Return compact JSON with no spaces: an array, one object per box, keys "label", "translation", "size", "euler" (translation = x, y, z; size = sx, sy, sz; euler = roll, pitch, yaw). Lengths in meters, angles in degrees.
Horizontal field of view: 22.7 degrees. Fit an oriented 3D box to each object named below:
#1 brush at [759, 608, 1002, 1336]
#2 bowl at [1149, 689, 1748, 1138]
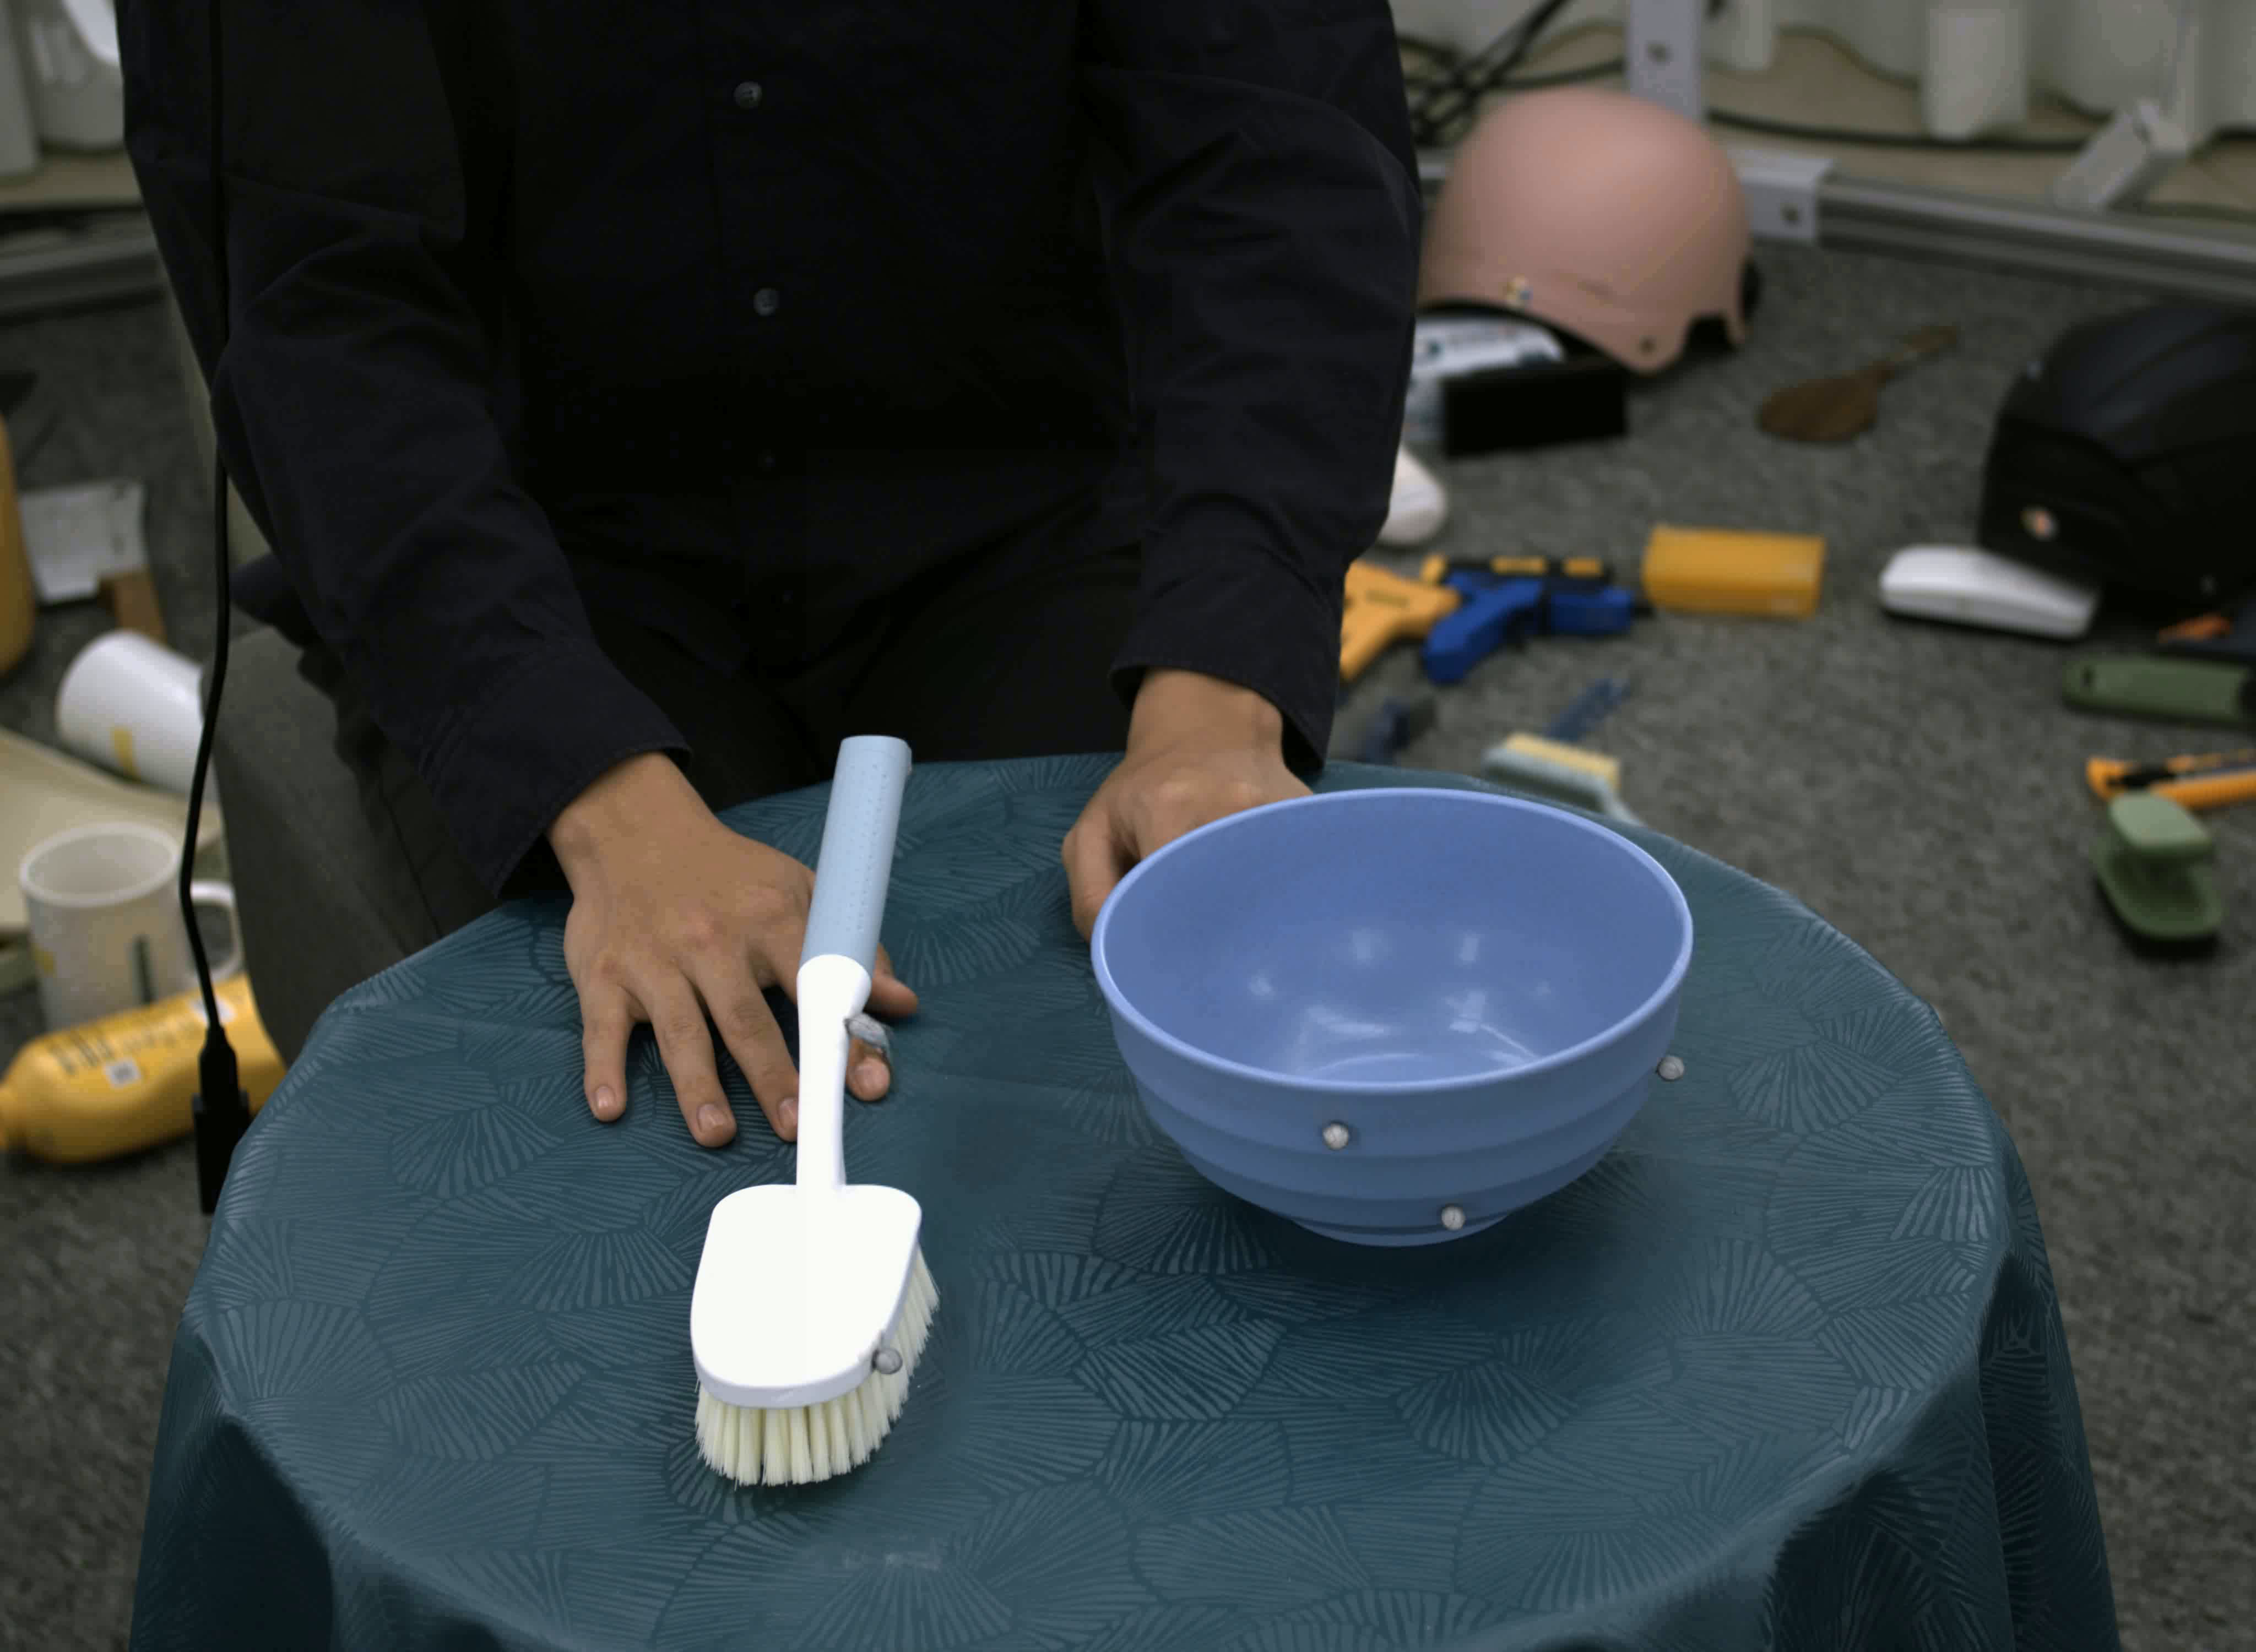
[{"label":"brush","translation":[-0.070,0.056,1.850],"size":[0.083,0.083,0.332],"euler":[29,36,-17]},{"label":"bowl","translation":[0.107,0.039,1.858],"size":[0.195,0.094,0.199],"euler":[-3,27,2]}]
